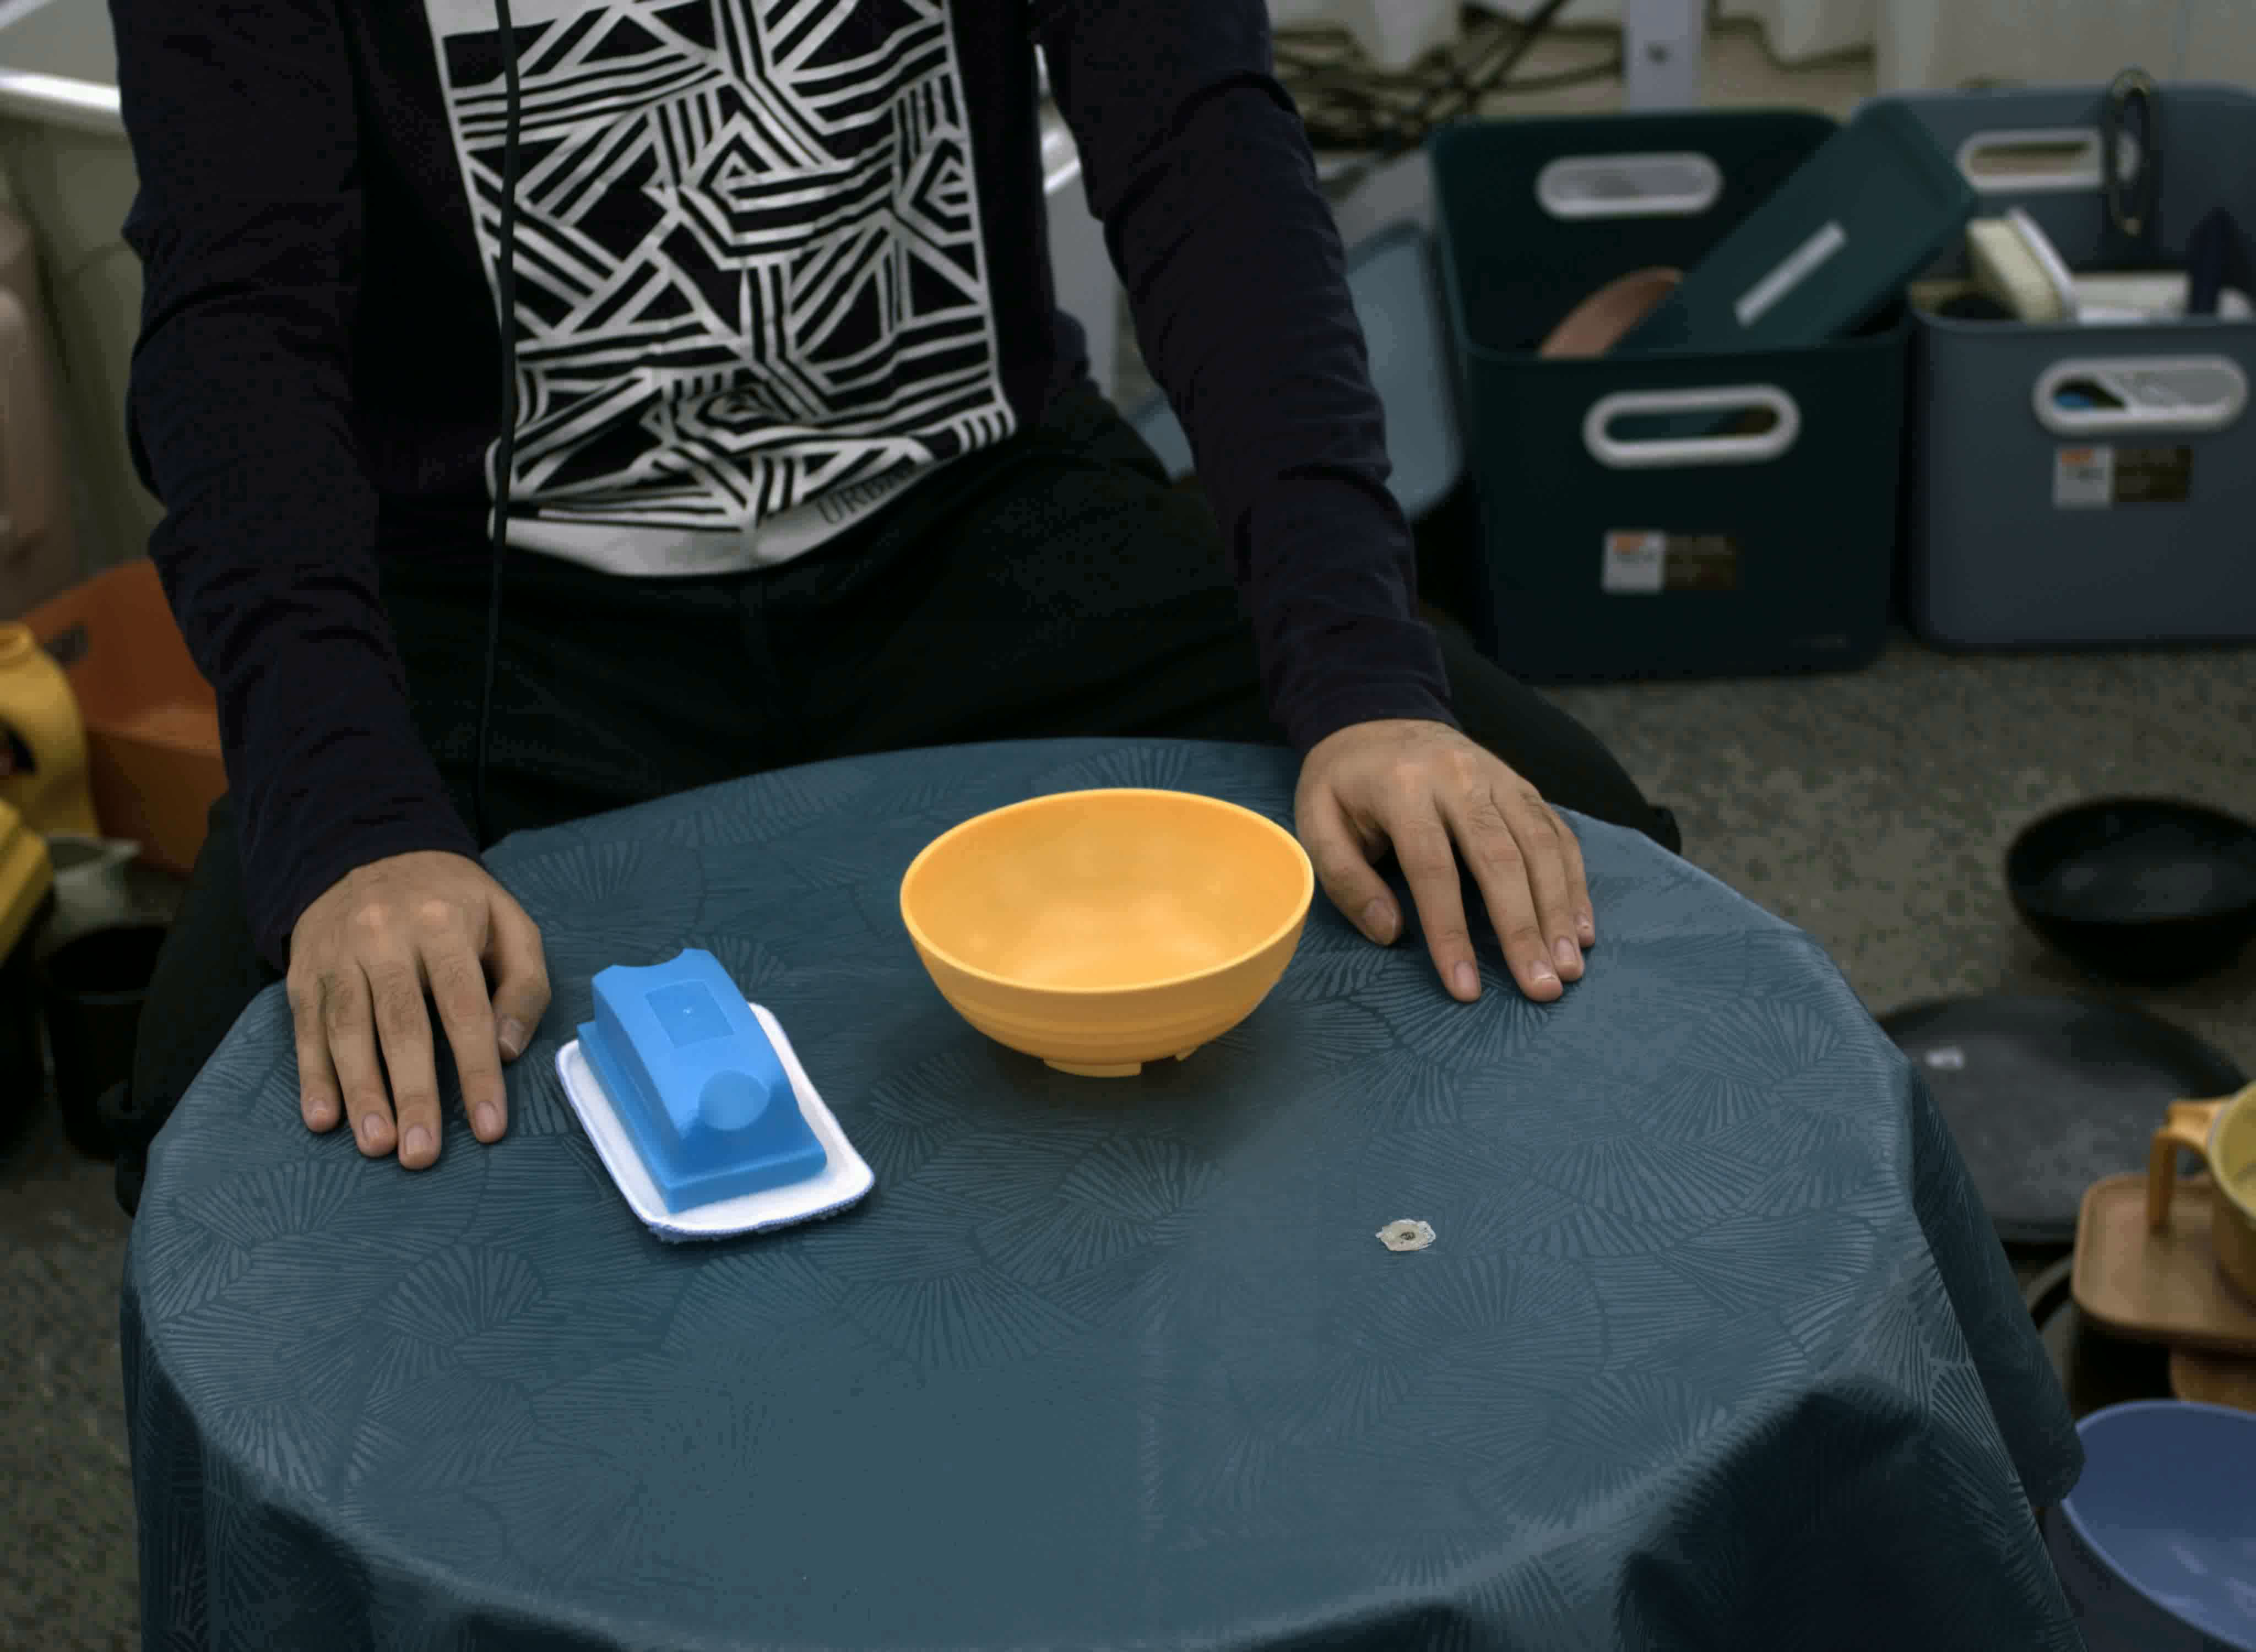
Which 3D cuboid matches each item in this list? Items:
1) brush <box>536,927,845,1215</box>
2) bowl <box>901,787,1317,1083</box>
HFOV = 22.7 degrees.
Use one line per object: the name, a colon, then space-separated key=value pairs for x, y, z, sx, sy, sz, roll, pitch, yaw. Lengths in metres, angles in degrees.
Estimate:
brush: x=-0.147 y=0.078 z=1.891 sx=0.084 sy=0.055 sz=0.145 roll=-7 pitch=29 yaw=-17
bowl: x=-0.006 y=0.047 z=1.944 sx=0.144 sy=0.059 sz=0.147 roll=-1 pitch=28 yaw=1
